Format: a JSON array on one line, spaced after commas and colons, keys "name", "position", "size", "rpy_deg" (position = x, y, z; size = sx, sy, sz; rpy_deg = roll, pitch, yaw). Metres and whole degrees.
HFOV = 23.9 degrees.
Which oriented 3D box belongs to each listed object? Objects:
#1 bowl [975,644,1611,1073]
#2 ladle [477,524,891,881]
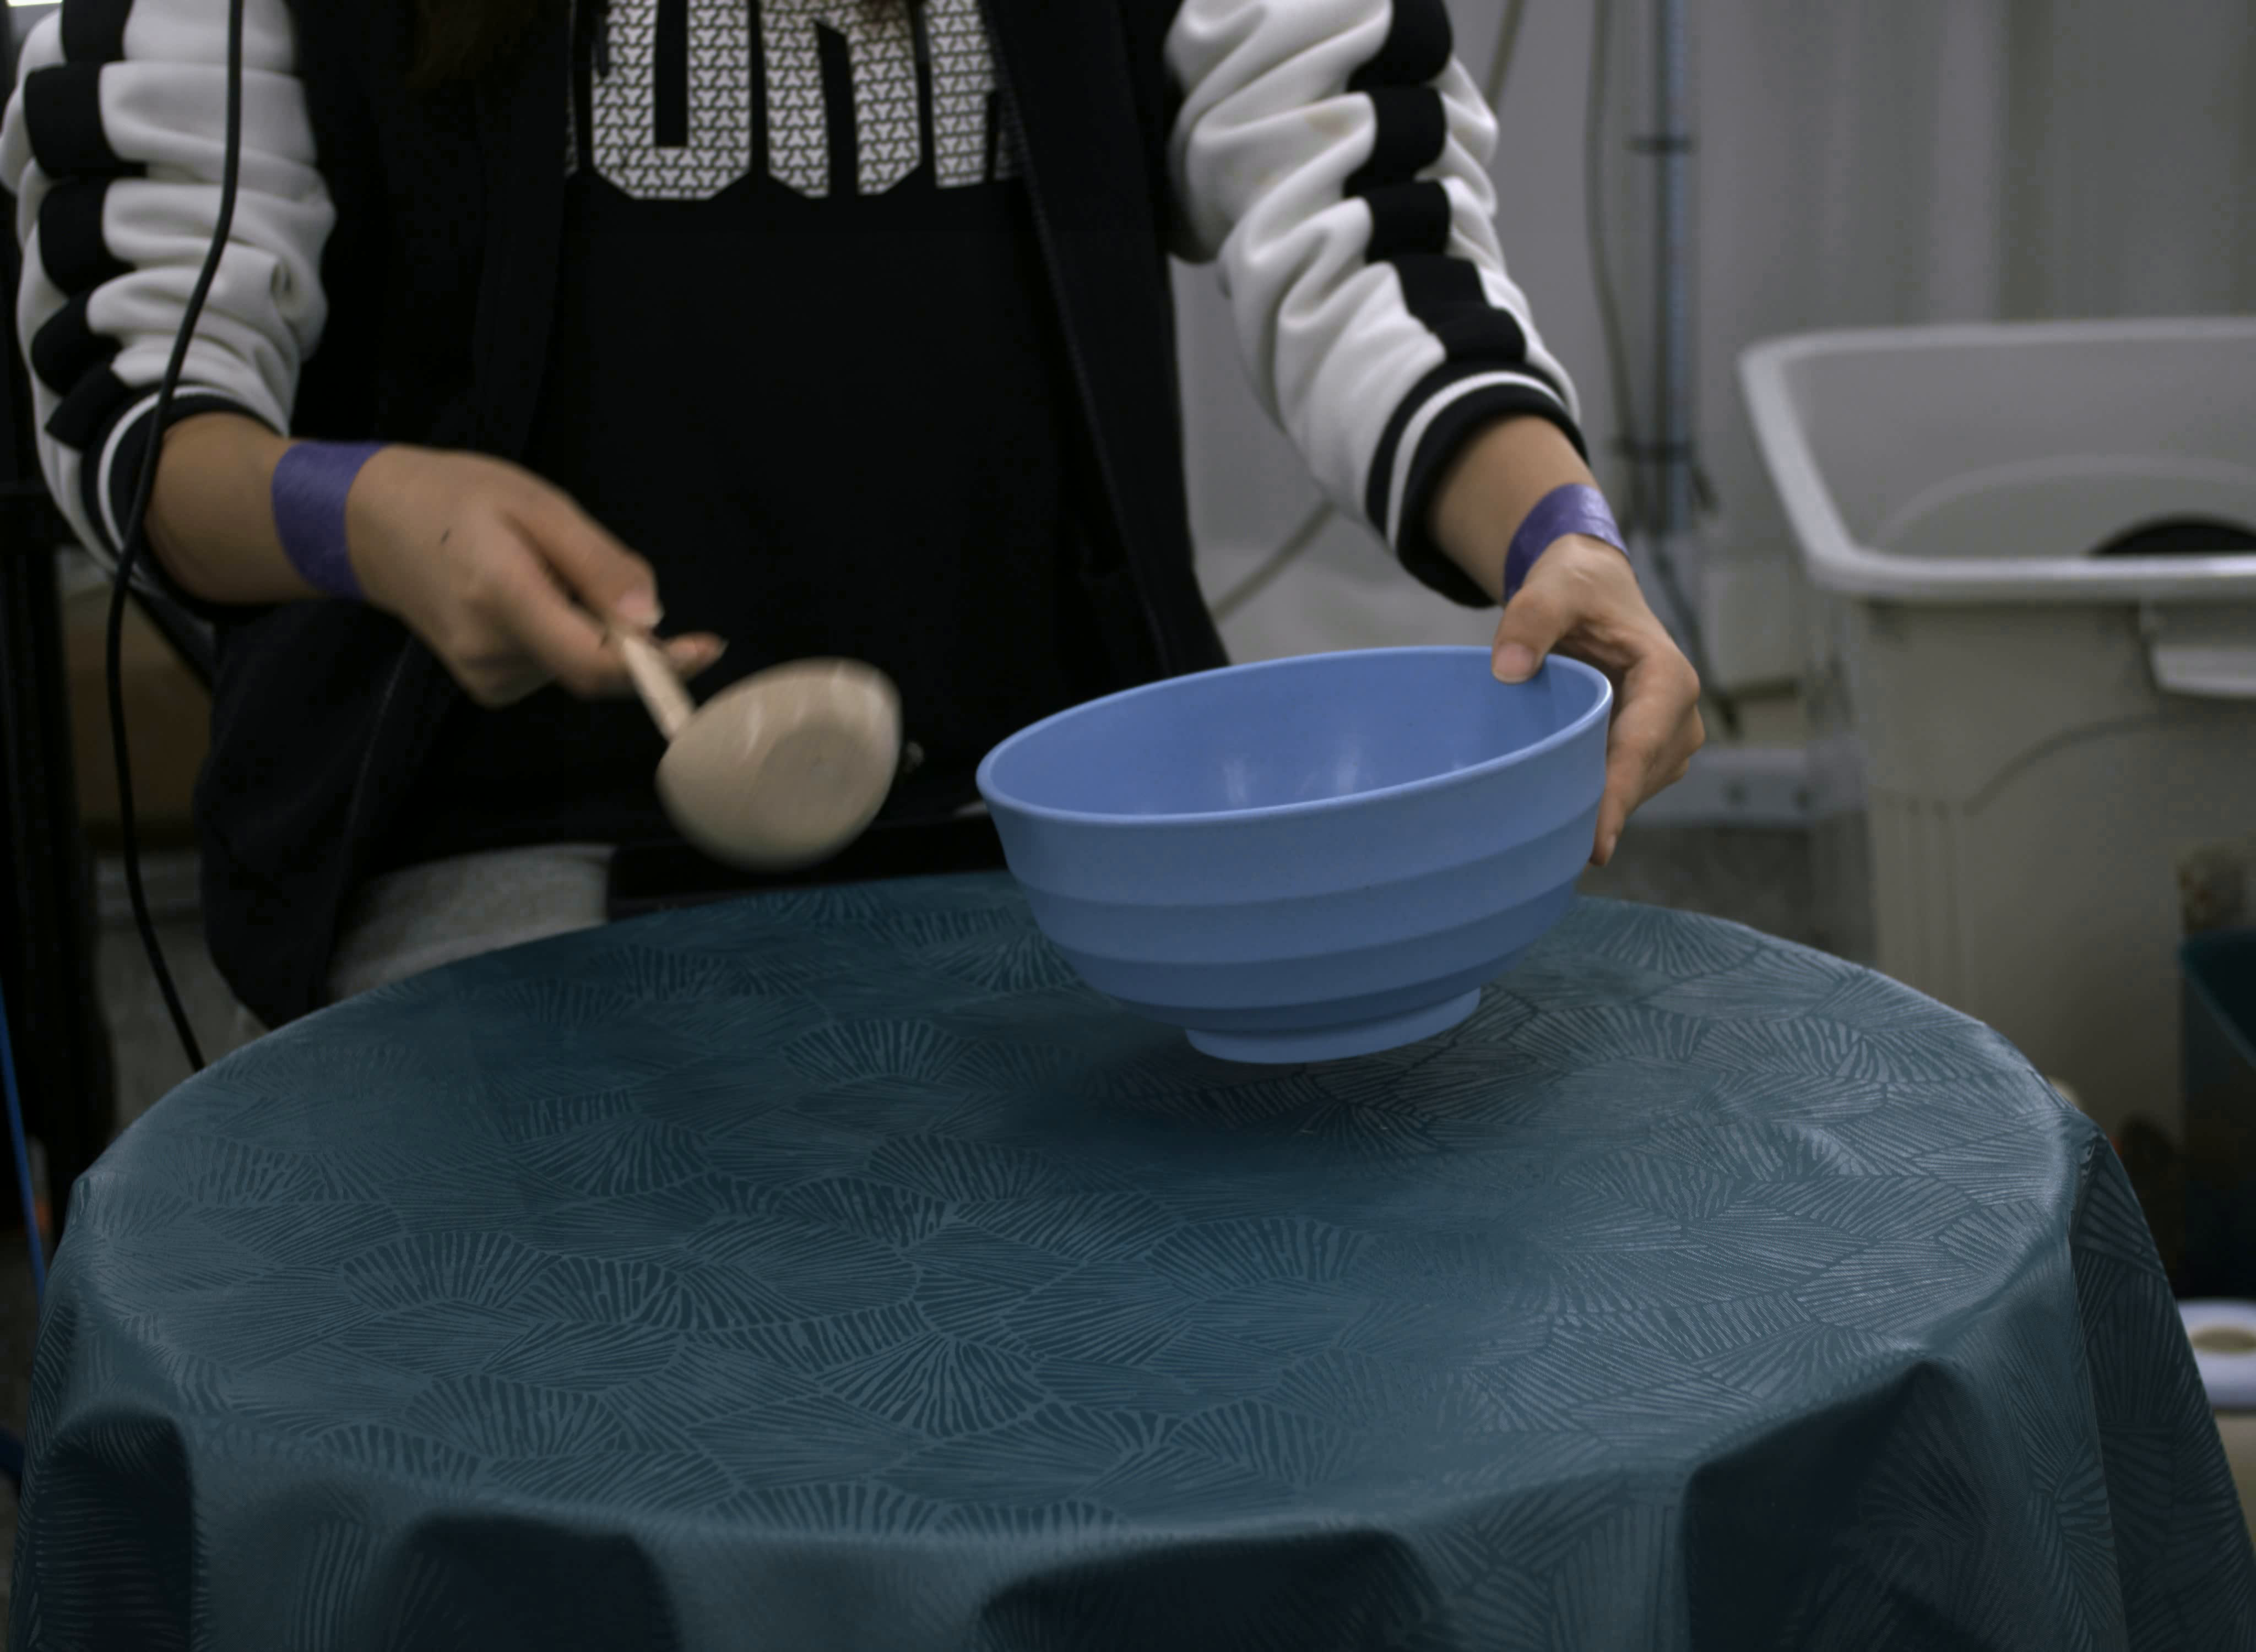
[{"name": "bowl", "position": [0.057, 0.017, 1.631], "size": [0.196, 0.095, 0.197], "rpy_deg": [-9, 15, 1]}, {"name": "ladle", "position": [-0.147, -0.067, 1.655], "size": [0.070, 0.073, 0.260], "rpy_deg": [-3, 30, -28]}]
